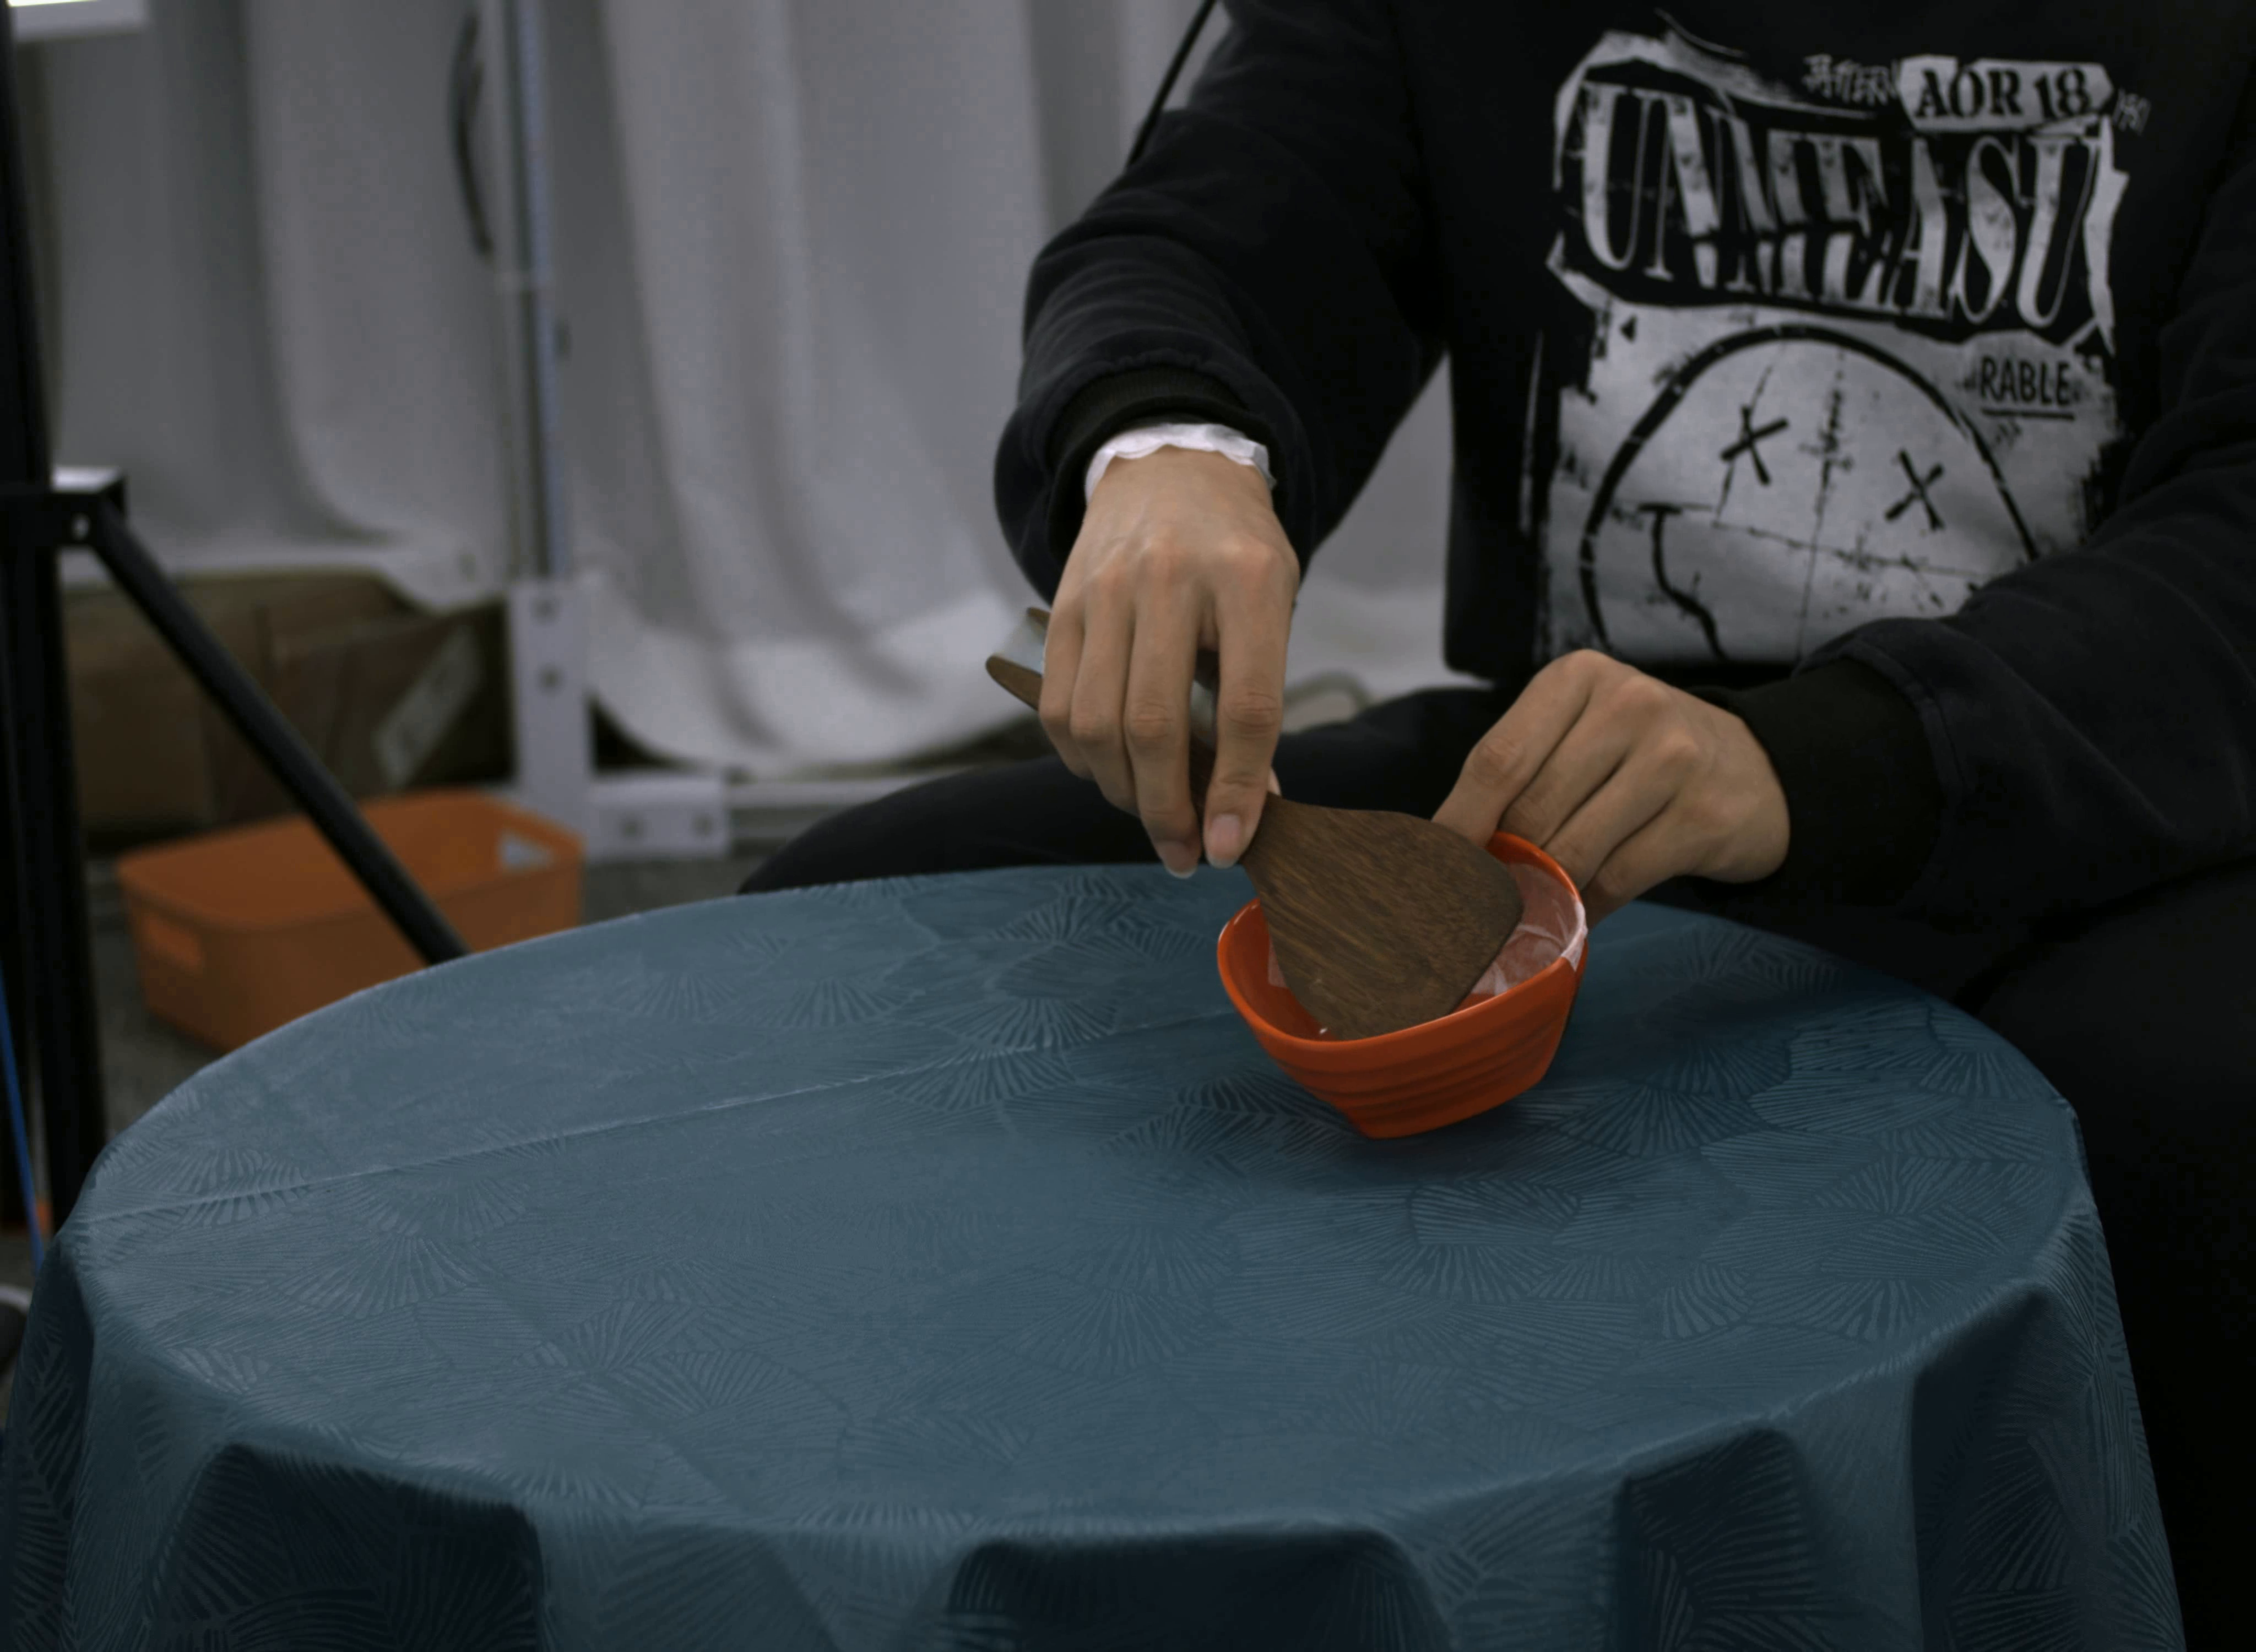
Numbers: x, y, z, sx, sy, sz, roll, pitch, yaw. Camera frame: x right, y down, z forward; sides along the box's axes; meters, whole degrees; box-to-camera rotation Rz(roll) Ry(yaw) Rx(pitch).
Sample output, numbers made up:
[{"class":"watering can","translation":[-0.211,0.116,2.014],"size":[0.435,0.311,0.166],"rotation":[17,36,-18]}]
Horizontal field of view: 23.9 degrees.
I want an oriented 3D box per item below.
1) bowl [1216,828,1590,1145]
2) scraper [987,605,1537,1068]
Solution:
[{"class":"bowl","translation":[0.088,0.054,1.609],"size":[0.119,0.051,0.120],"rotation":[-14,30,7]},{"class":"scraper","translation":[0.033,-0.006,1.621],"size":[0.216,0.076,0.010],"rotation":[38,-4,33]}]
